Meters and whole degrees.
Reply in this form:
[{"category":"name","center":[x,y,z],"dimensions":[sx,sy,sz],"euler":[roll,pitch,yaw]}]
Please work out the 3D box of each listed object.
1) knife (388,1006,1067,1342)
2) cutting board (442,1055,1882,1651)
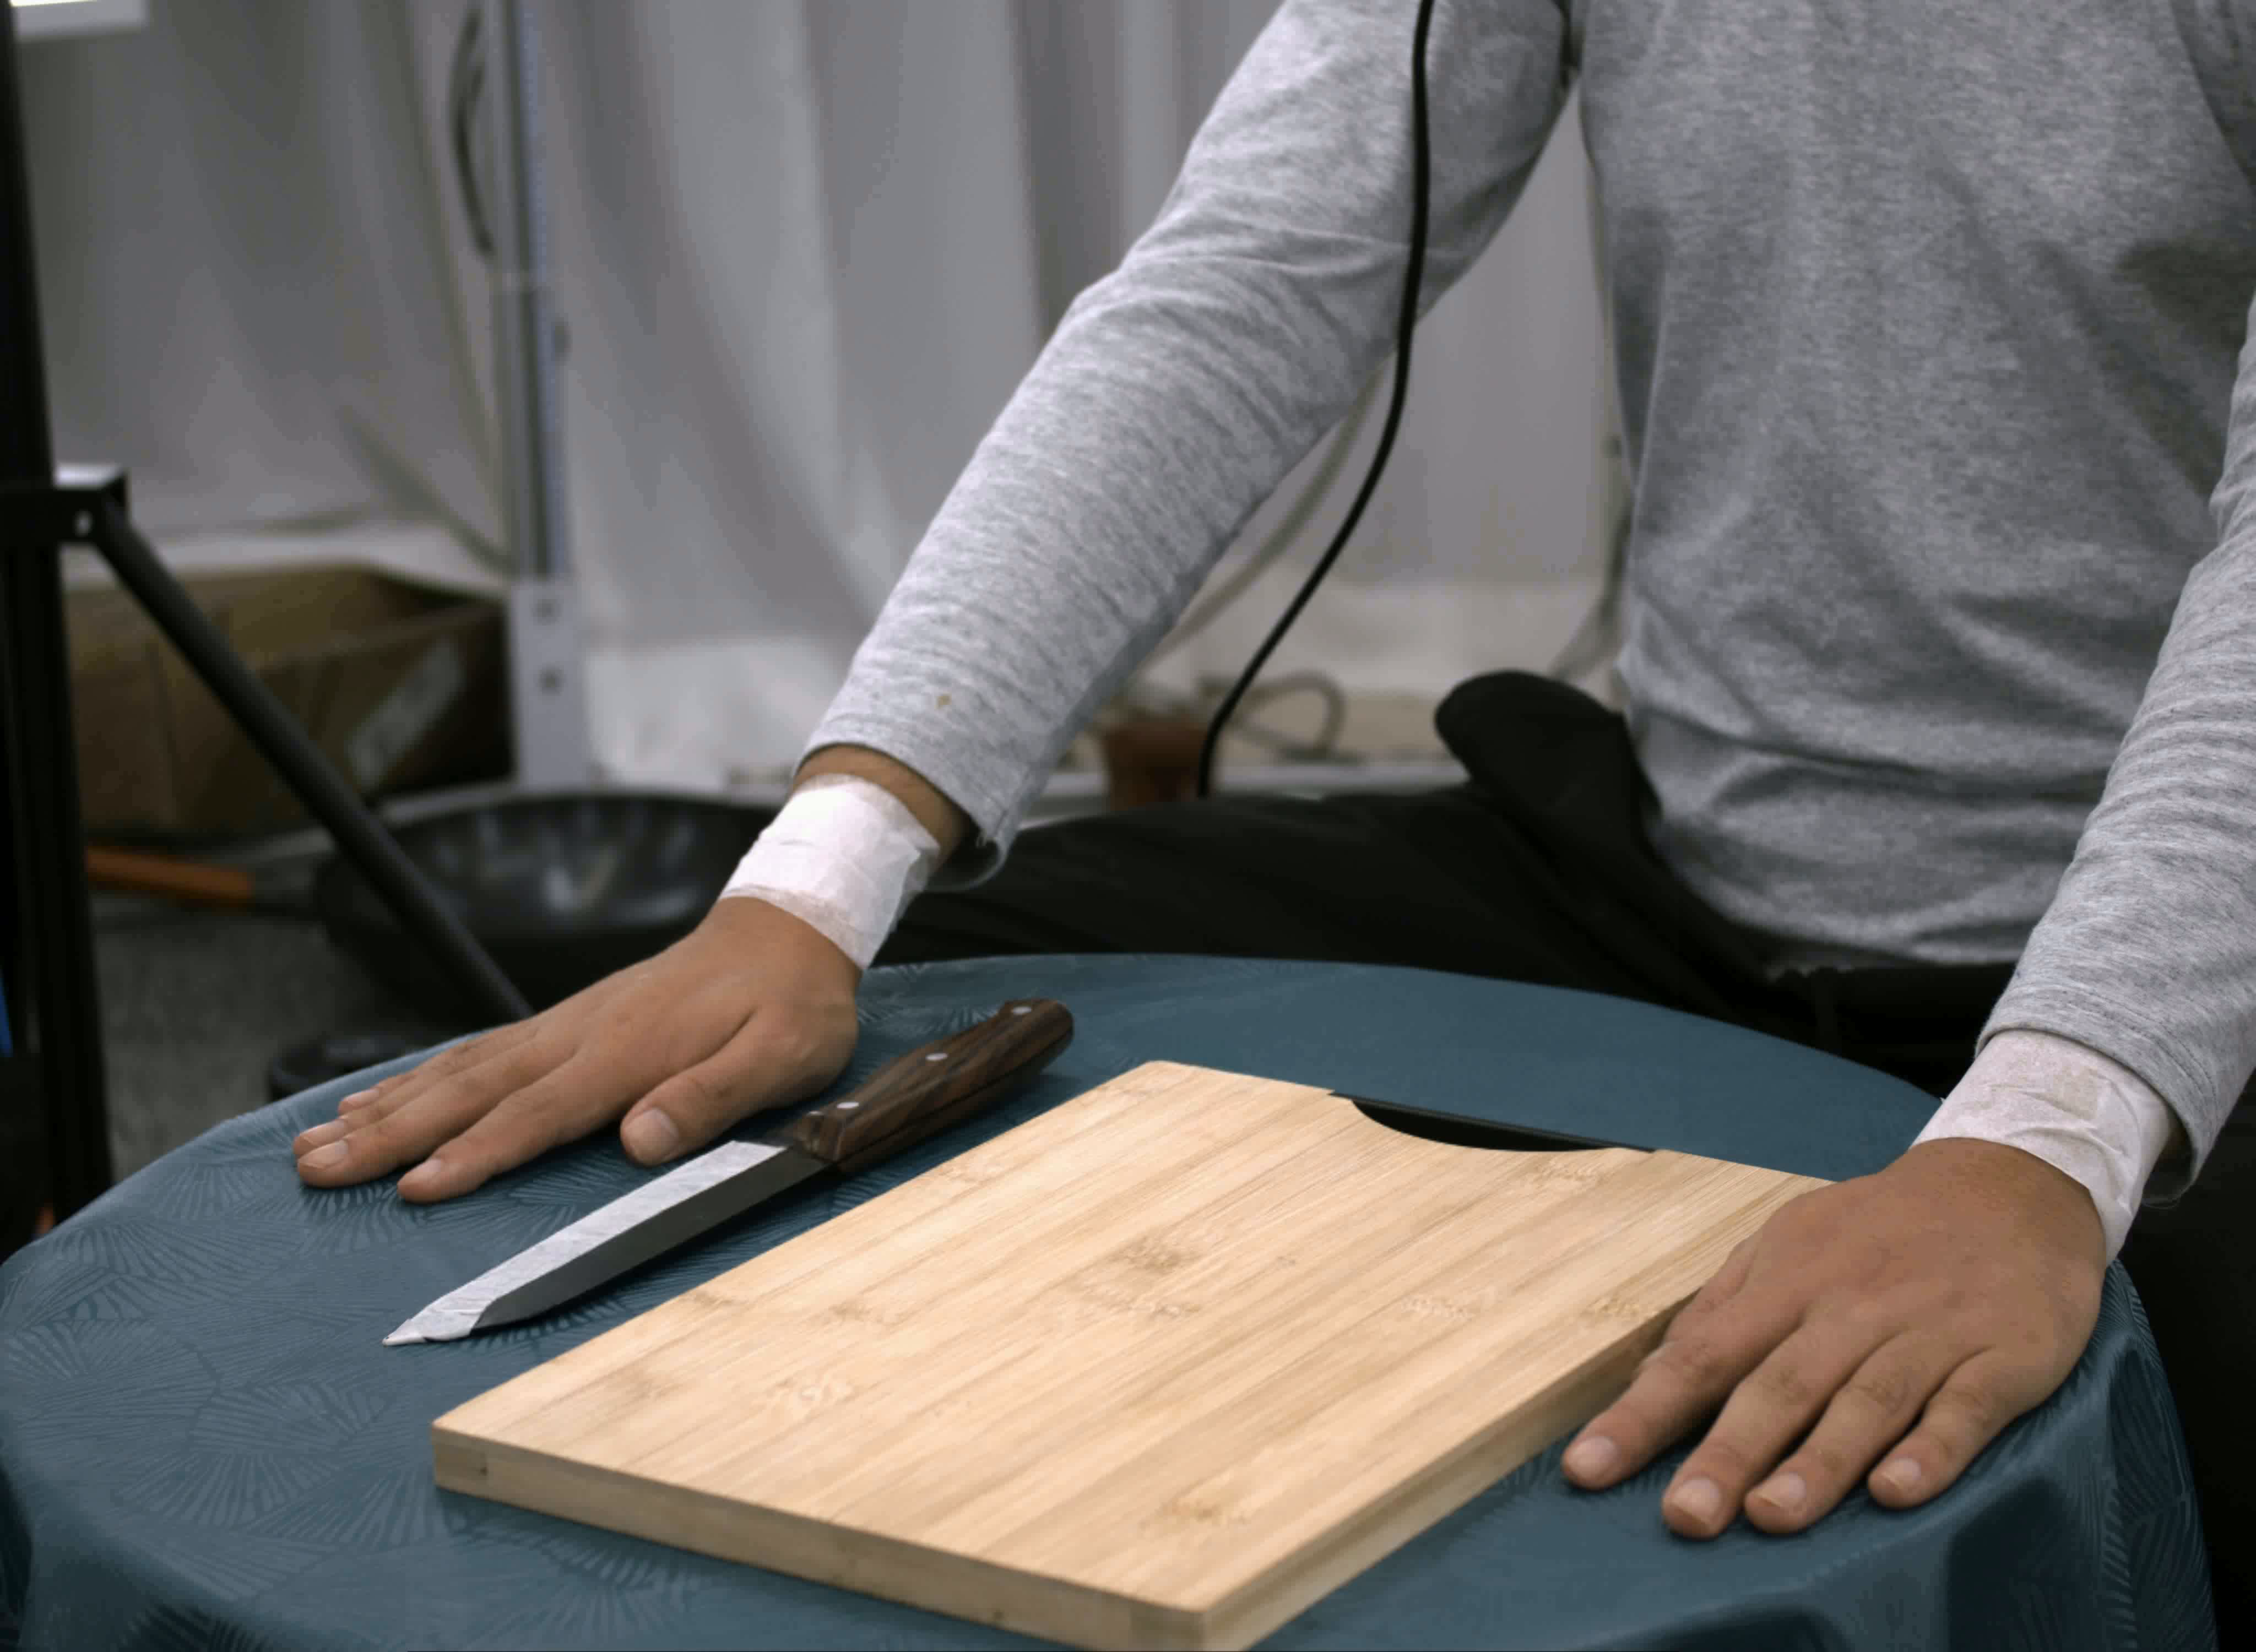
[{"category":"knife","center":[-0.112,0.103,1.570],"dimensions":[0.051,0.020,0.283],"euler":[4,19,39]},{"category":"cutting board","center":[0.017,0.136,1.433],"dimensions":[0.256,0.023,0.342],"euler":[9,19,33]}]
